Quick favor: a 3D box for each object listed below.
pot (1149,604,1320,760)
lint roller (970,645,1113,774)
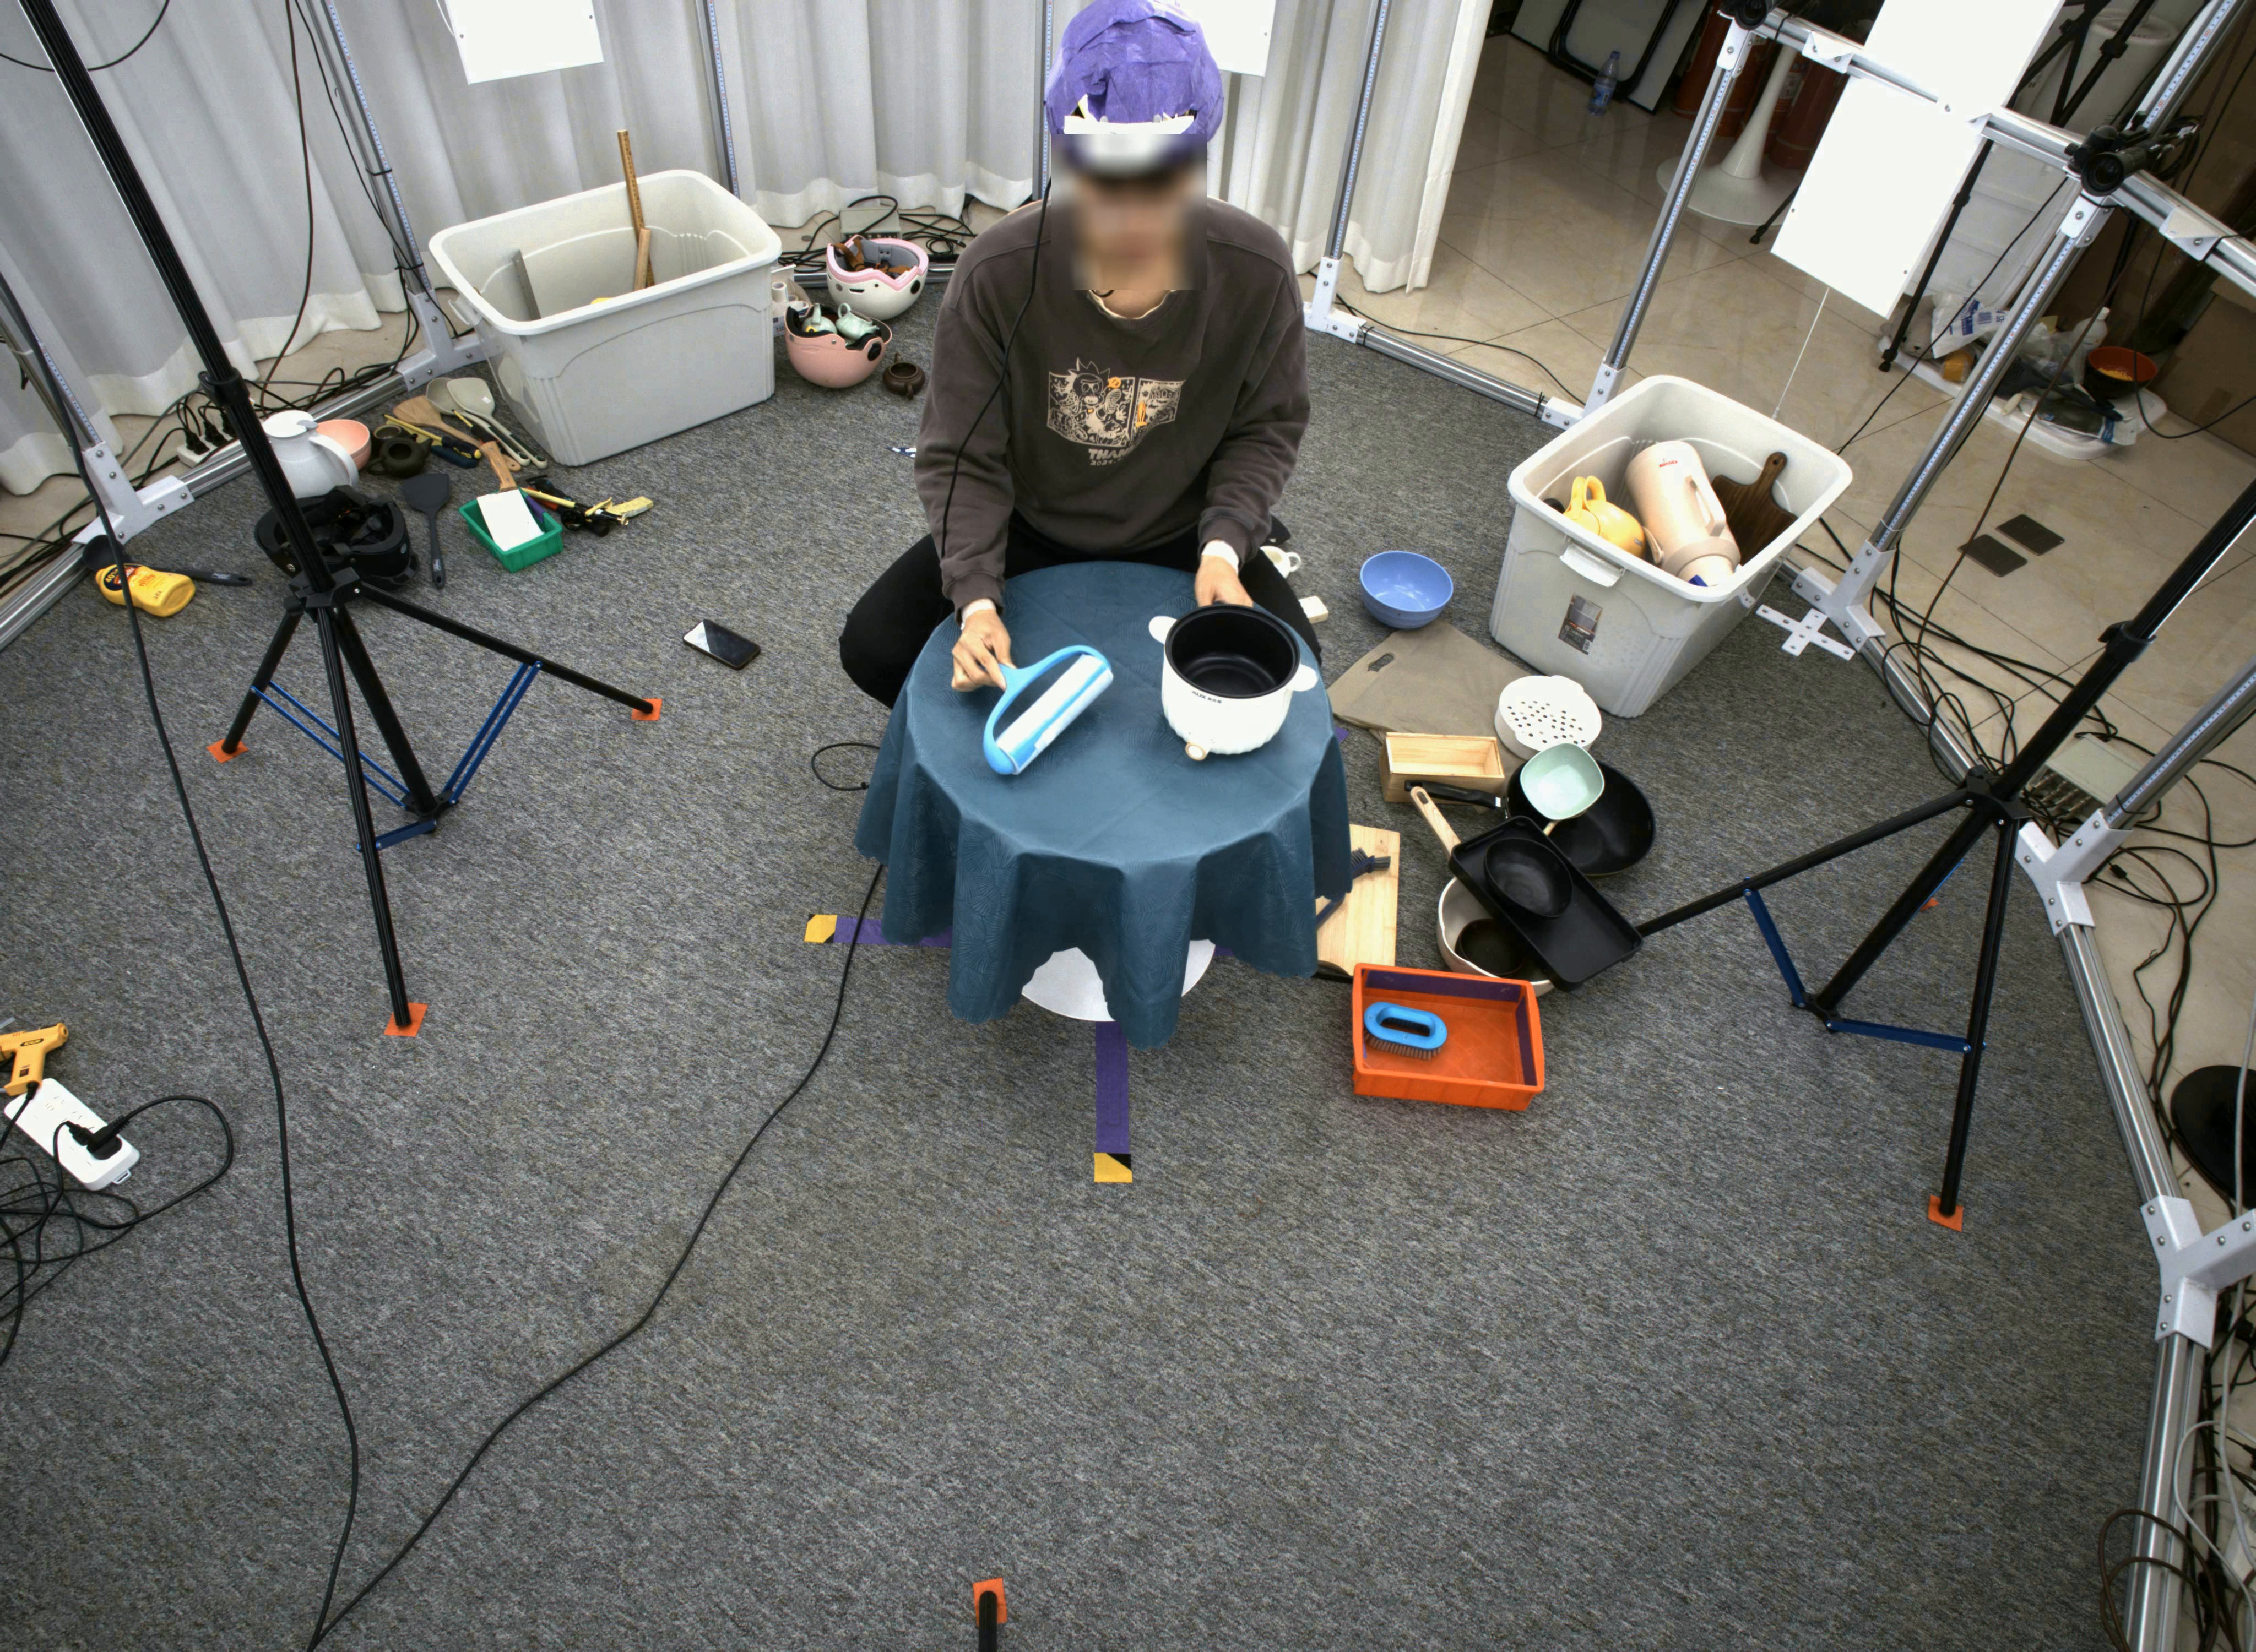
[{"bbox_3d":[0.135,-0.190,1.749,0.242,0.139,0.194,20,48,15],"label":"pot"},{"bbox_3d":[-0.149,-0.185,1.753,0.182,0.066,0.231,32,65,19],"label":"lint roller"}]
